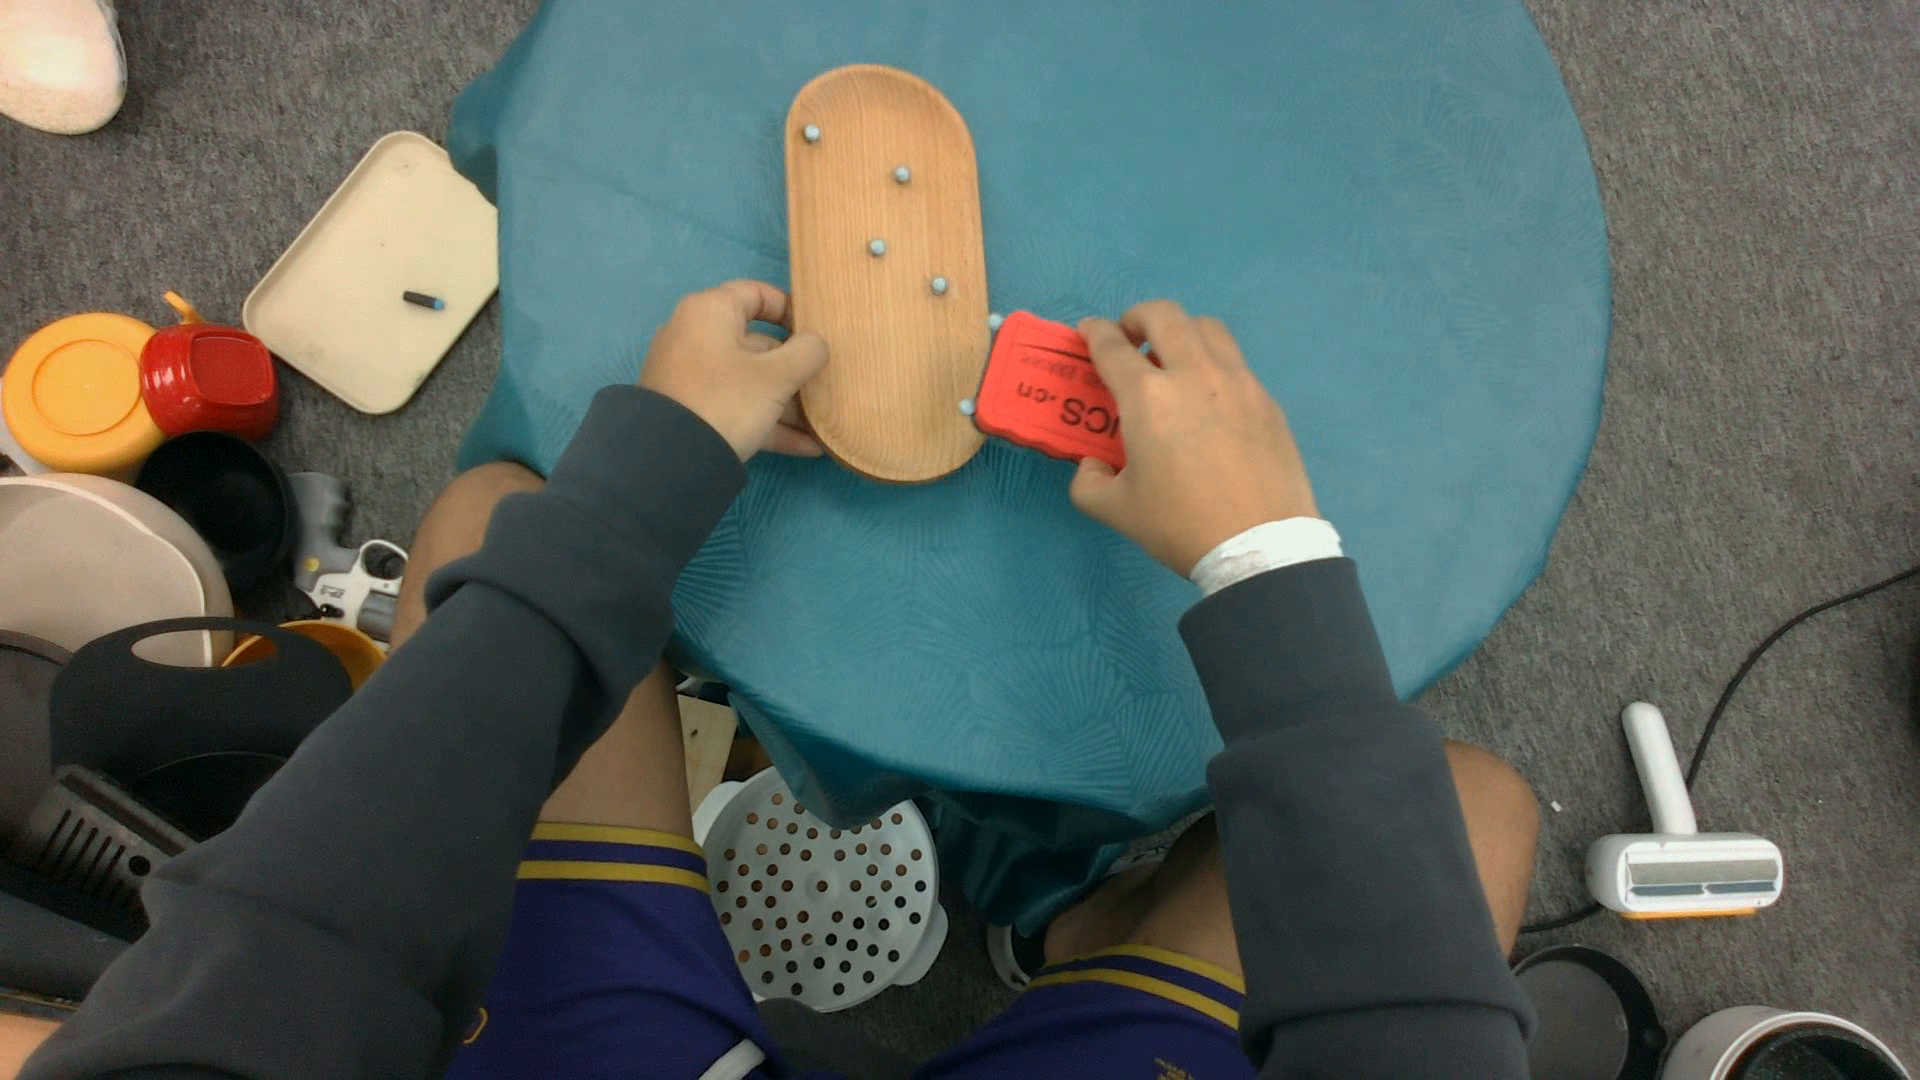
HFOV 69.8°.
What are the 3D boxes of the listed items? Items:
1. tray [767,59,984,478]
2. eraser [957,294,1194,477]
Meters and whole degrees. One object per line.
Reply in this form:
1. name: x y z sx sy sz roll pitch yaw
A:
1. tray: -0.044 -0.140 0.693 0.102 0.020 0.231 0 73 -17
2. eraser: 0.056 -0.073 0.658 0.108 0.023 0.059 18 74 -12
